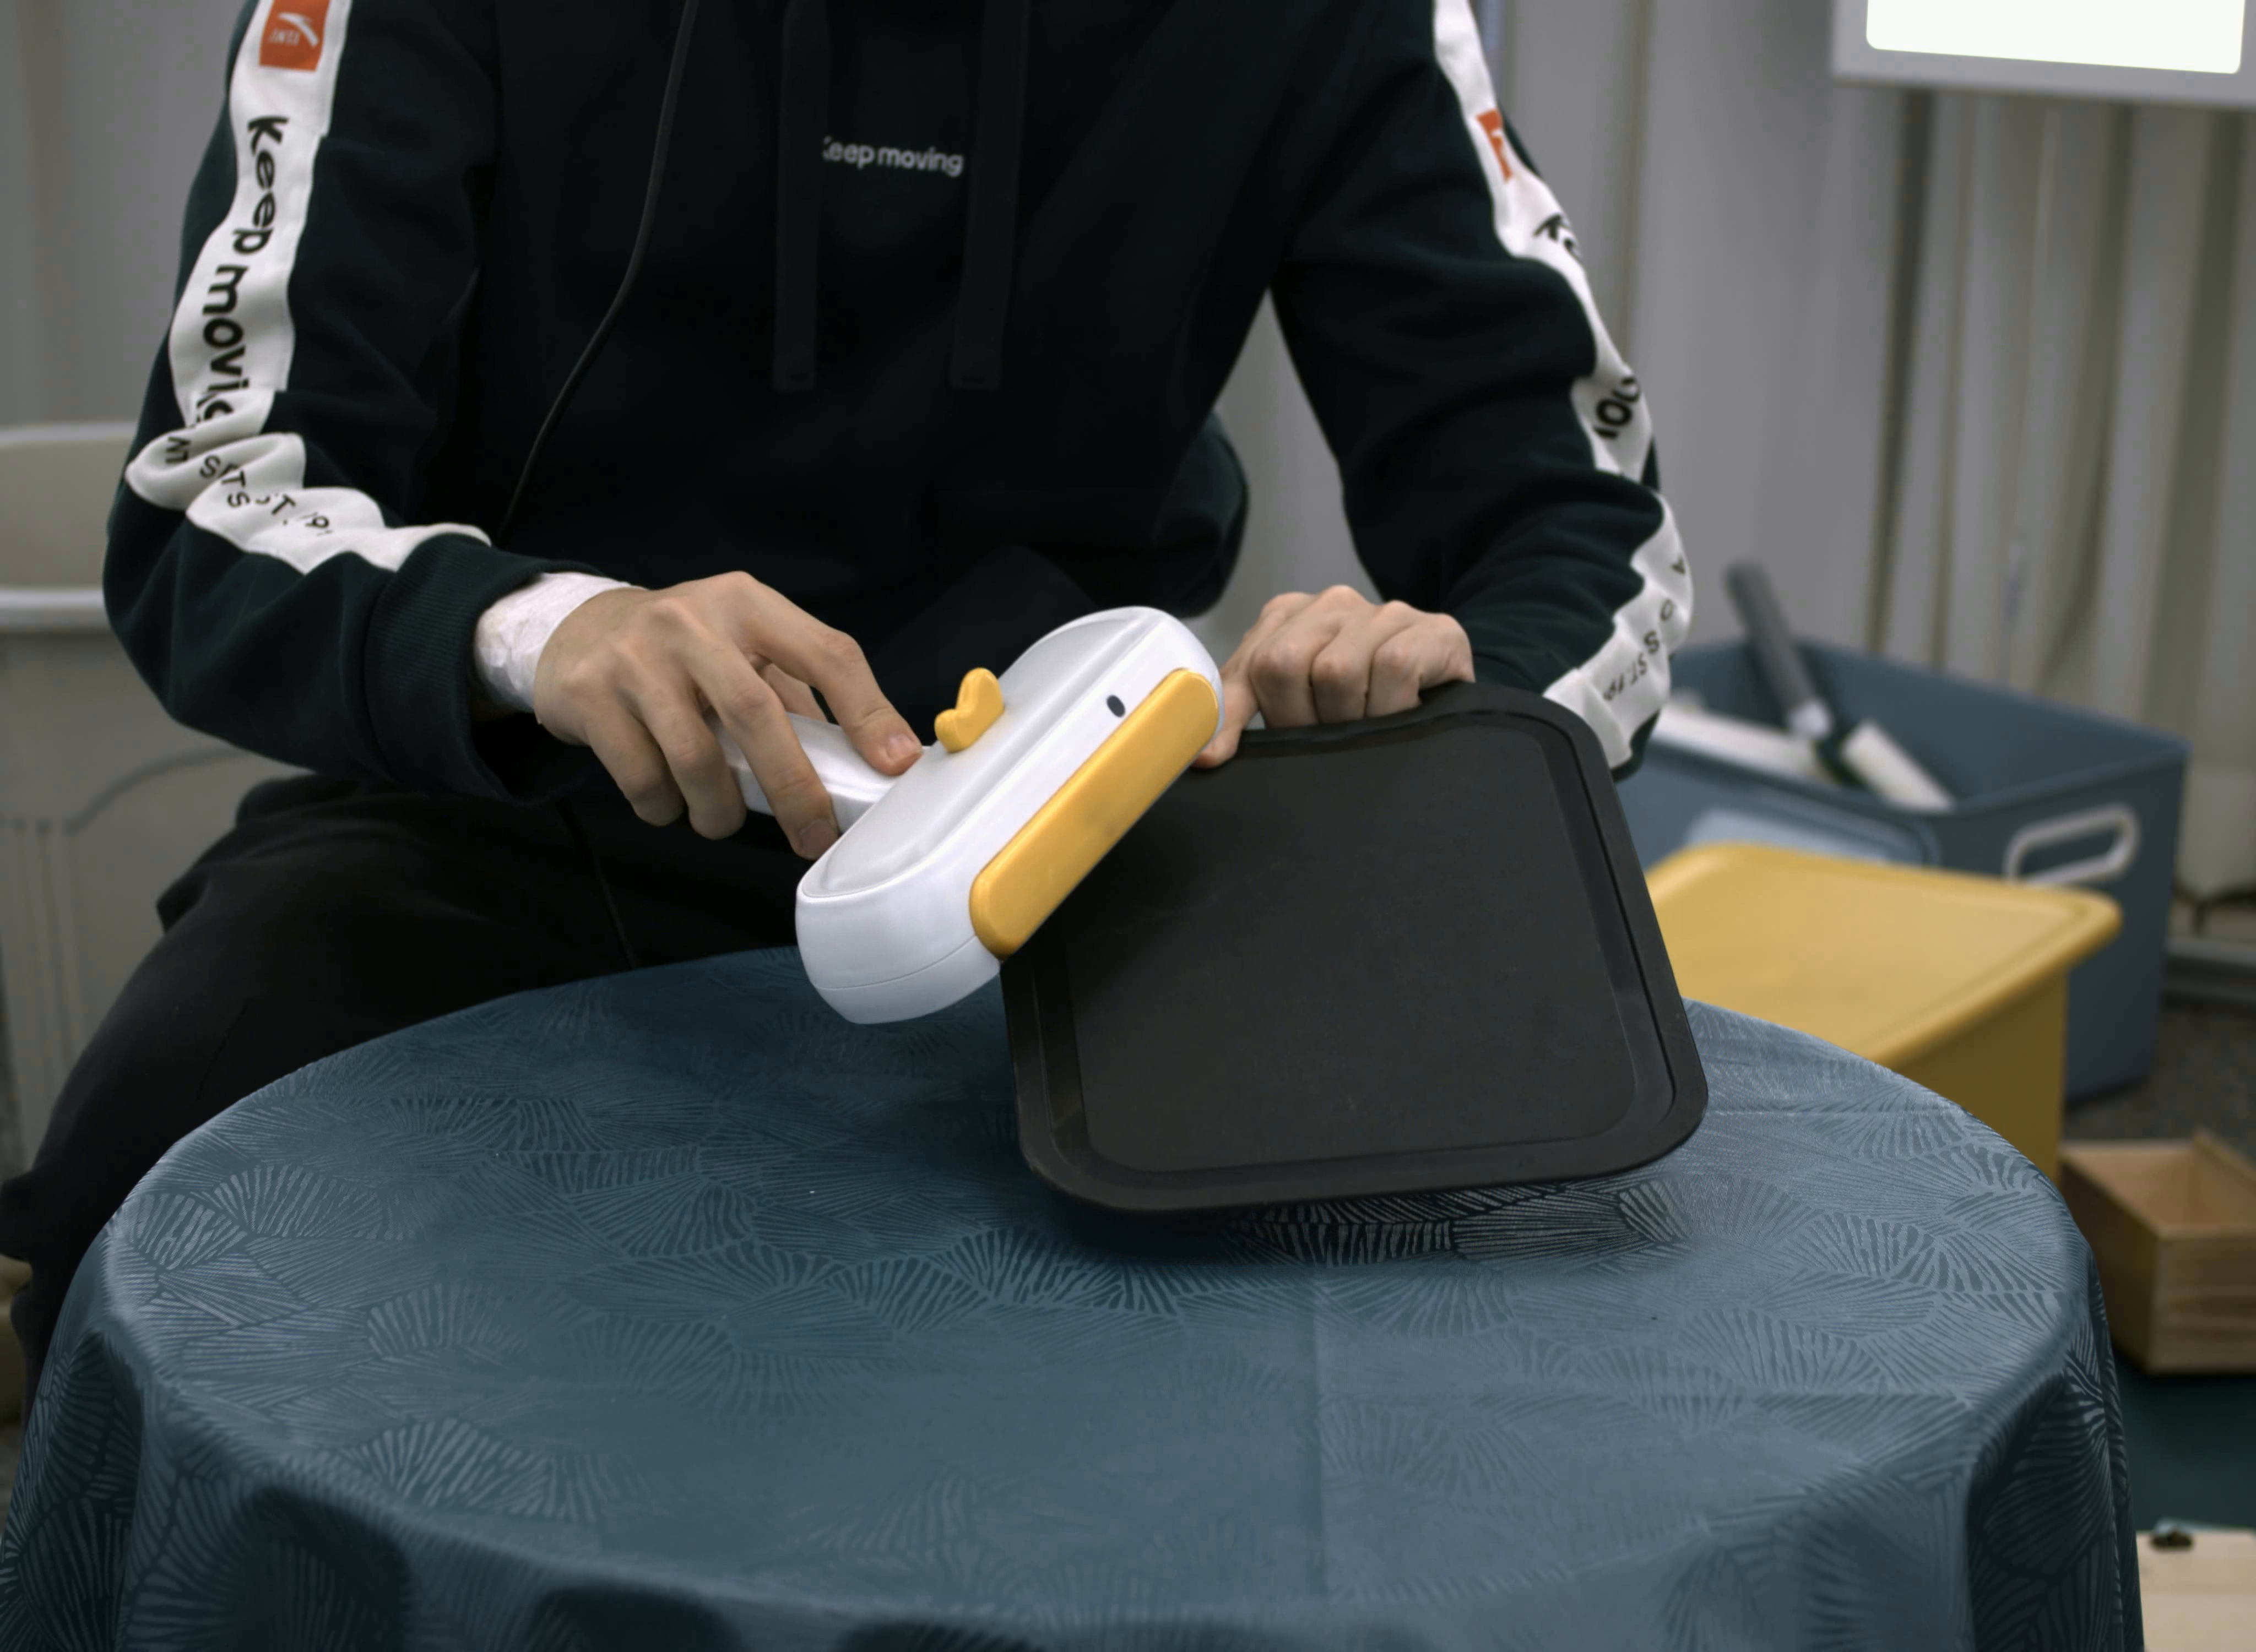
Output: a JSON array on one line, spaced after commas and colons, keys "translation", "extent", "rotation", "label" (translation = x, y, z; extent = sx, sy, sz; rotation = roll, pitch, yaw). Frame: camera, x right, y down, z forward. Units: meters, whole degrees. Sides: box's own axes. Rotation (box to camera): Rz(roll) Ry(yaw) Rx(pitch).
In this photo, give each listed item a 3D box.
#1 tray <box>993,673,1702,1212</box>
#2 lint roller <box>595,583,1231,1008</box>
[{"translation": [0.061, 0.028, 1.690], "extent": [0.210, 0.010, 0.322], "rotation": [-4, 30, -3], "label": "tray"}, {"translation": [-0.084, -0.015, 1.701], "extent": [0.190, 0.075, 0.192], "rotation": [-2, 36, 32], "label": "lint roller"}]
